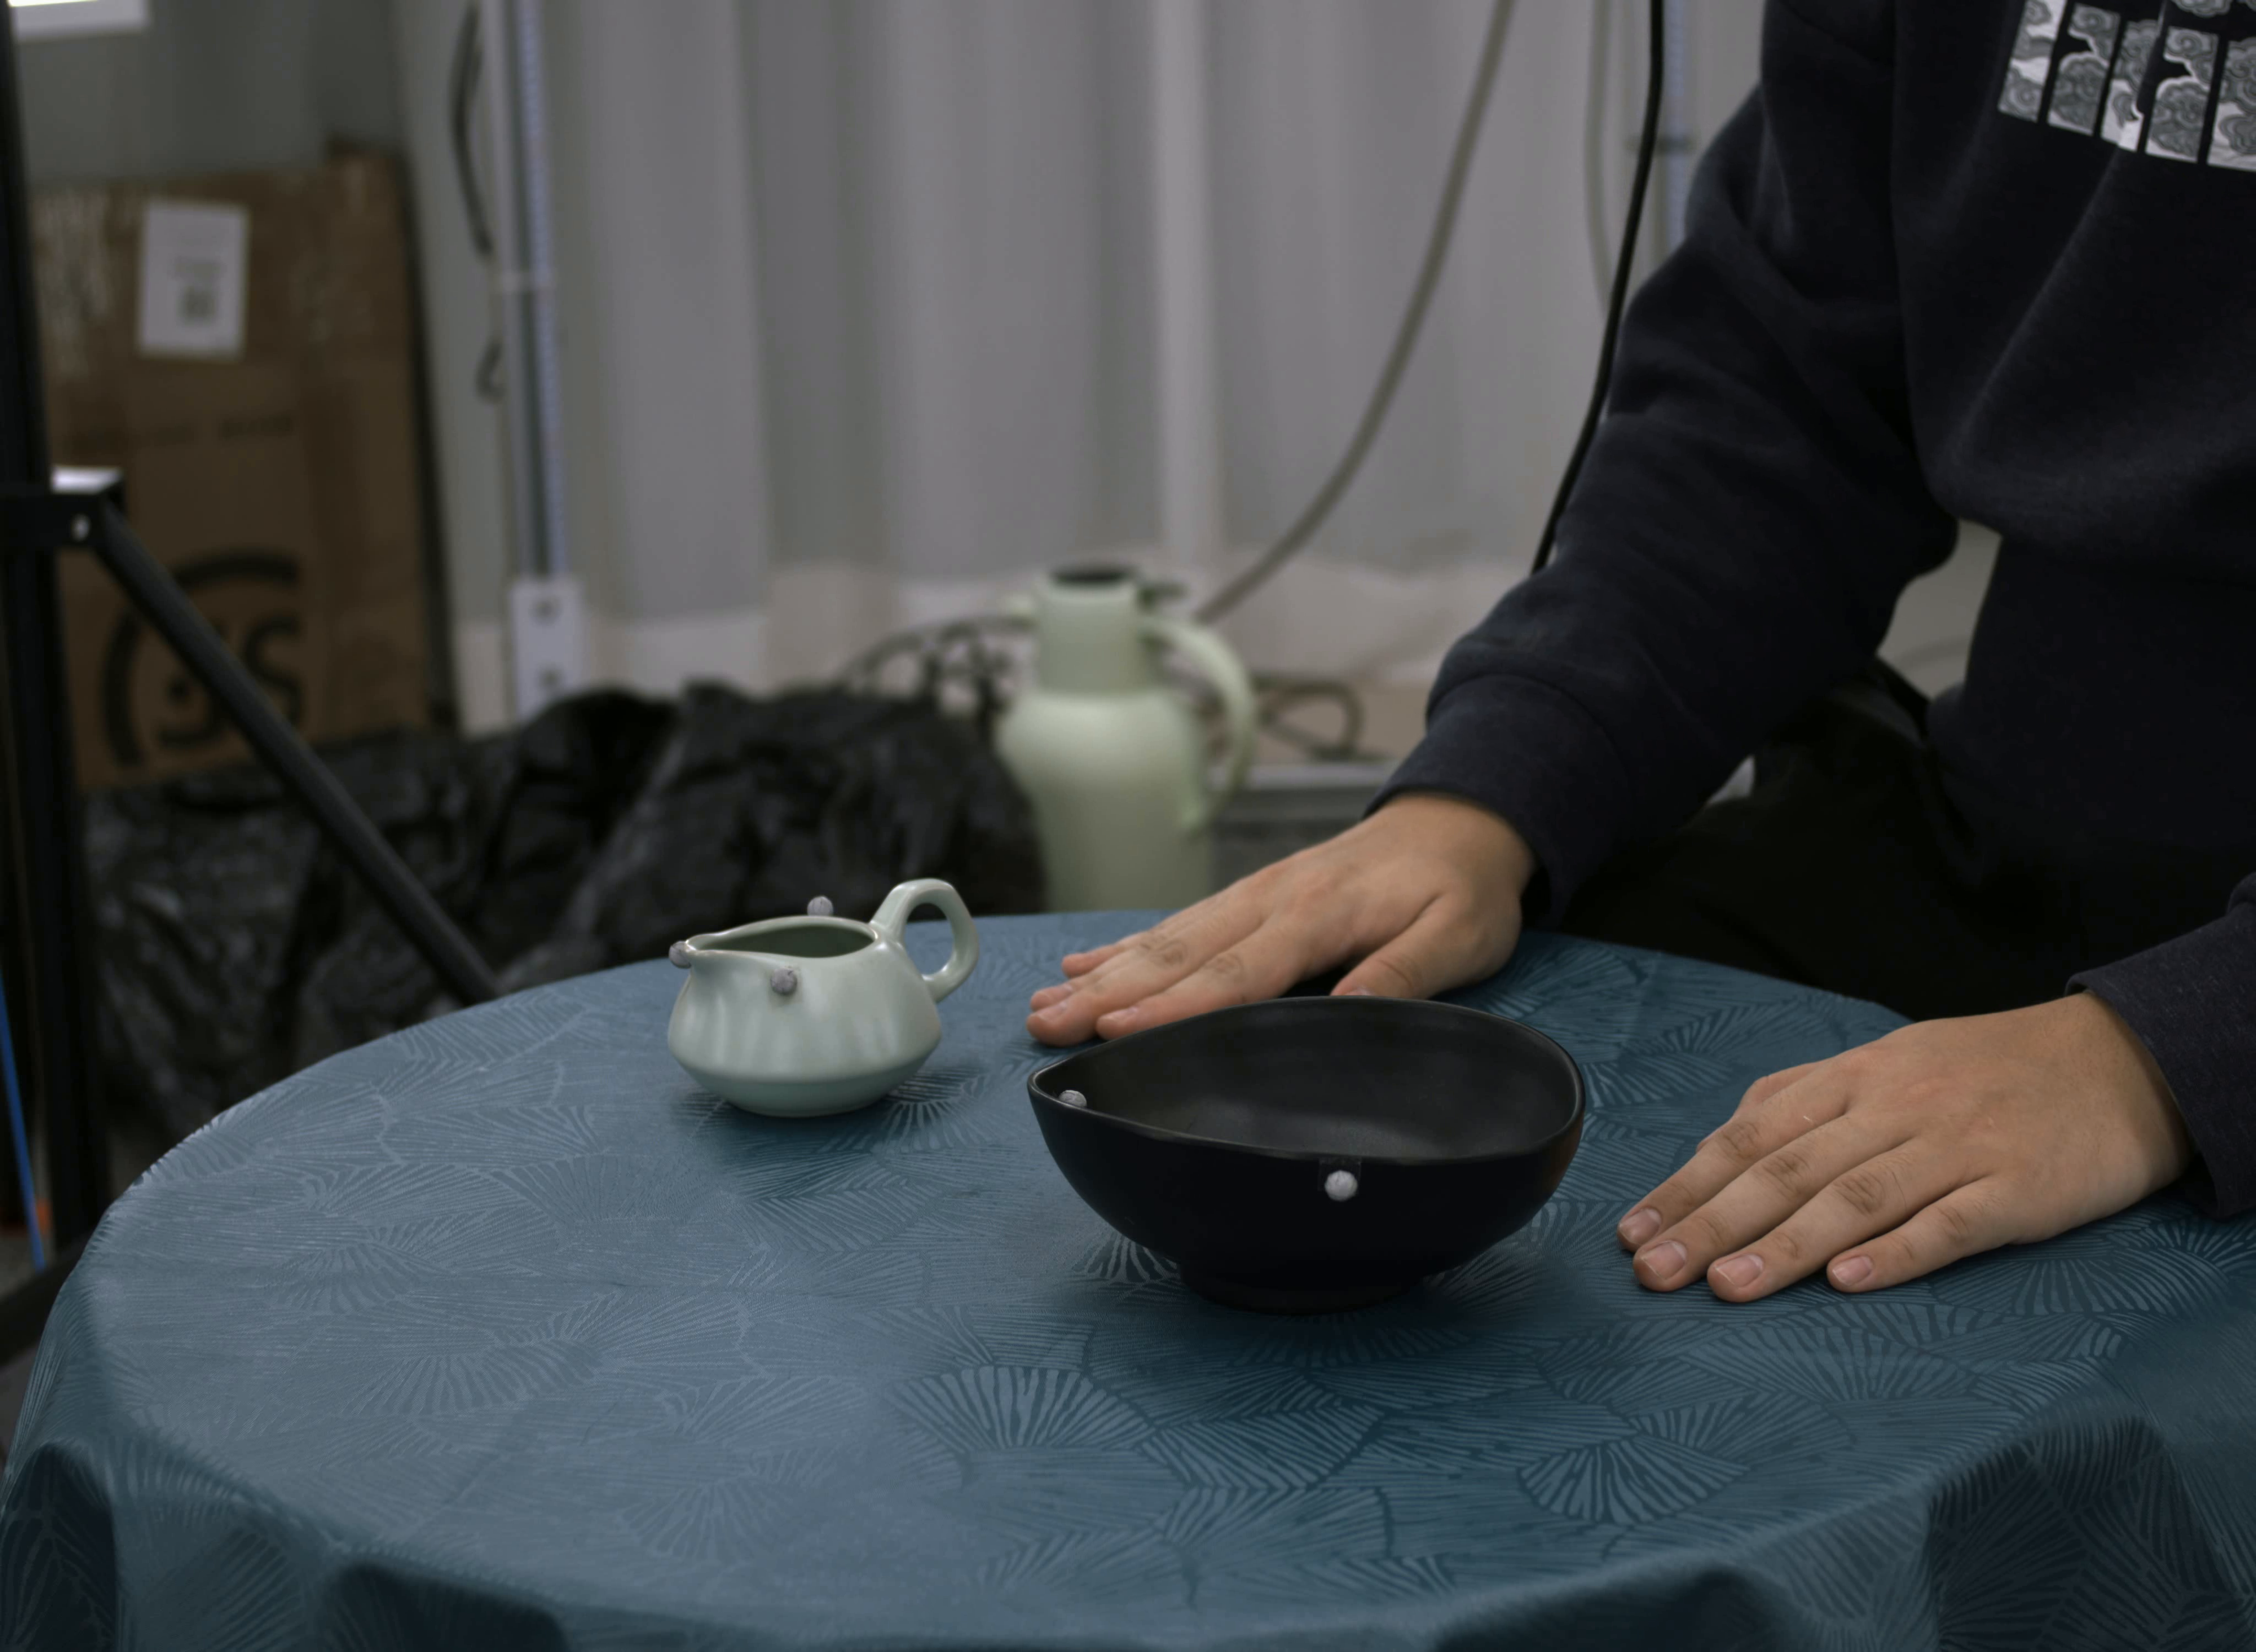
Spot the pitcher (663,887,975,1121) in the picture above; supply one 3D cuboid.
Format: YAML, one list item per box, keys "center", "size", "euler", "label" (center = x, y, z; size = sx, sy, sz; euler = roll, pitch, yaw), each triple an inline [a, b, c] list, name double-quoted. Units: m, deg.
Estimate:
- center: [-0.093, 0.055, 1.658]
  size: [0.105, 0.060, 0.088]
  euler: [-12, 19, -37]
  label: "pitcher"

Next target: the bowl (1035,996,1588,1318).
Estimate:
- center: [0.049, 0.096, 1.476]
  size: [0.174, 0.067, 0.134]
  euler: [10, 19, 40]
  label: "bowl"
